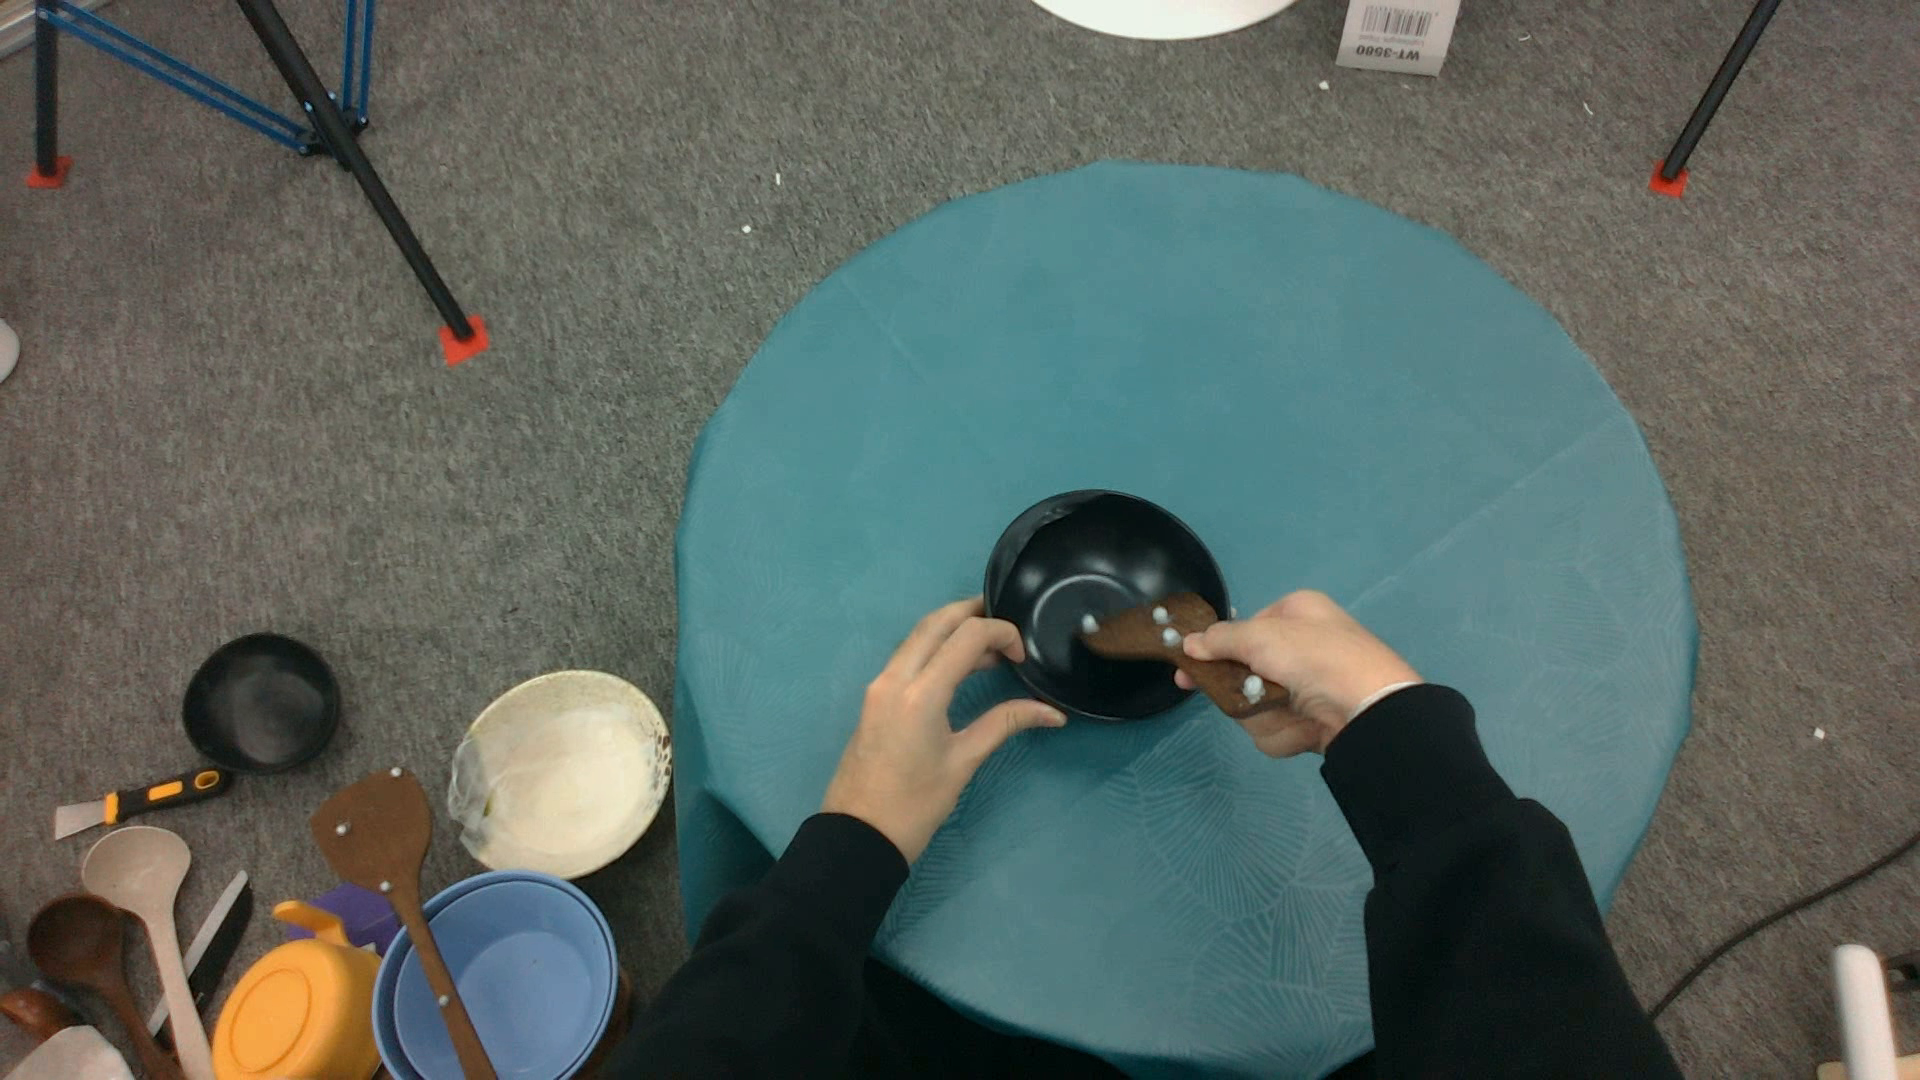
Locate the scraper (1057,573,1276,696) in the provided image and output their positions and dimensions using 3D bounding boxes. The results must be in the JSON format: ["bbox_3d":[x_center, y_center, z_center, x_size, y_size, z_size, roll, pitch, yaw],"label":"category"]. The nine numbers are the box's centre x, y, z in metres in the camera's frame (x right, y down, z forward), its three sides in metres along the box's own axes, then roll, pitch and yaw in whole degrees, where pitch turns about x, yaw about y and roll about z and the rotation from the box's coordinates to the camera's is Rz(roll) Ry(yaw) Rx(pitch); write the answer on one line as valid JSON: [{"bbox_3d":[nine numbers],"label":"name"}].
[{"bbox_3d":[0.106,0.046,0.682,0.076,0.211,0.011,-14,101,-7],"label":"scraper"}]

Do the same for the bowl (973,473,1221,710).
[{"bbox_3d":[0.071,0.034,0.768,0.140,0.049,0.140,5,63,-10],"label":"bowl"}]
